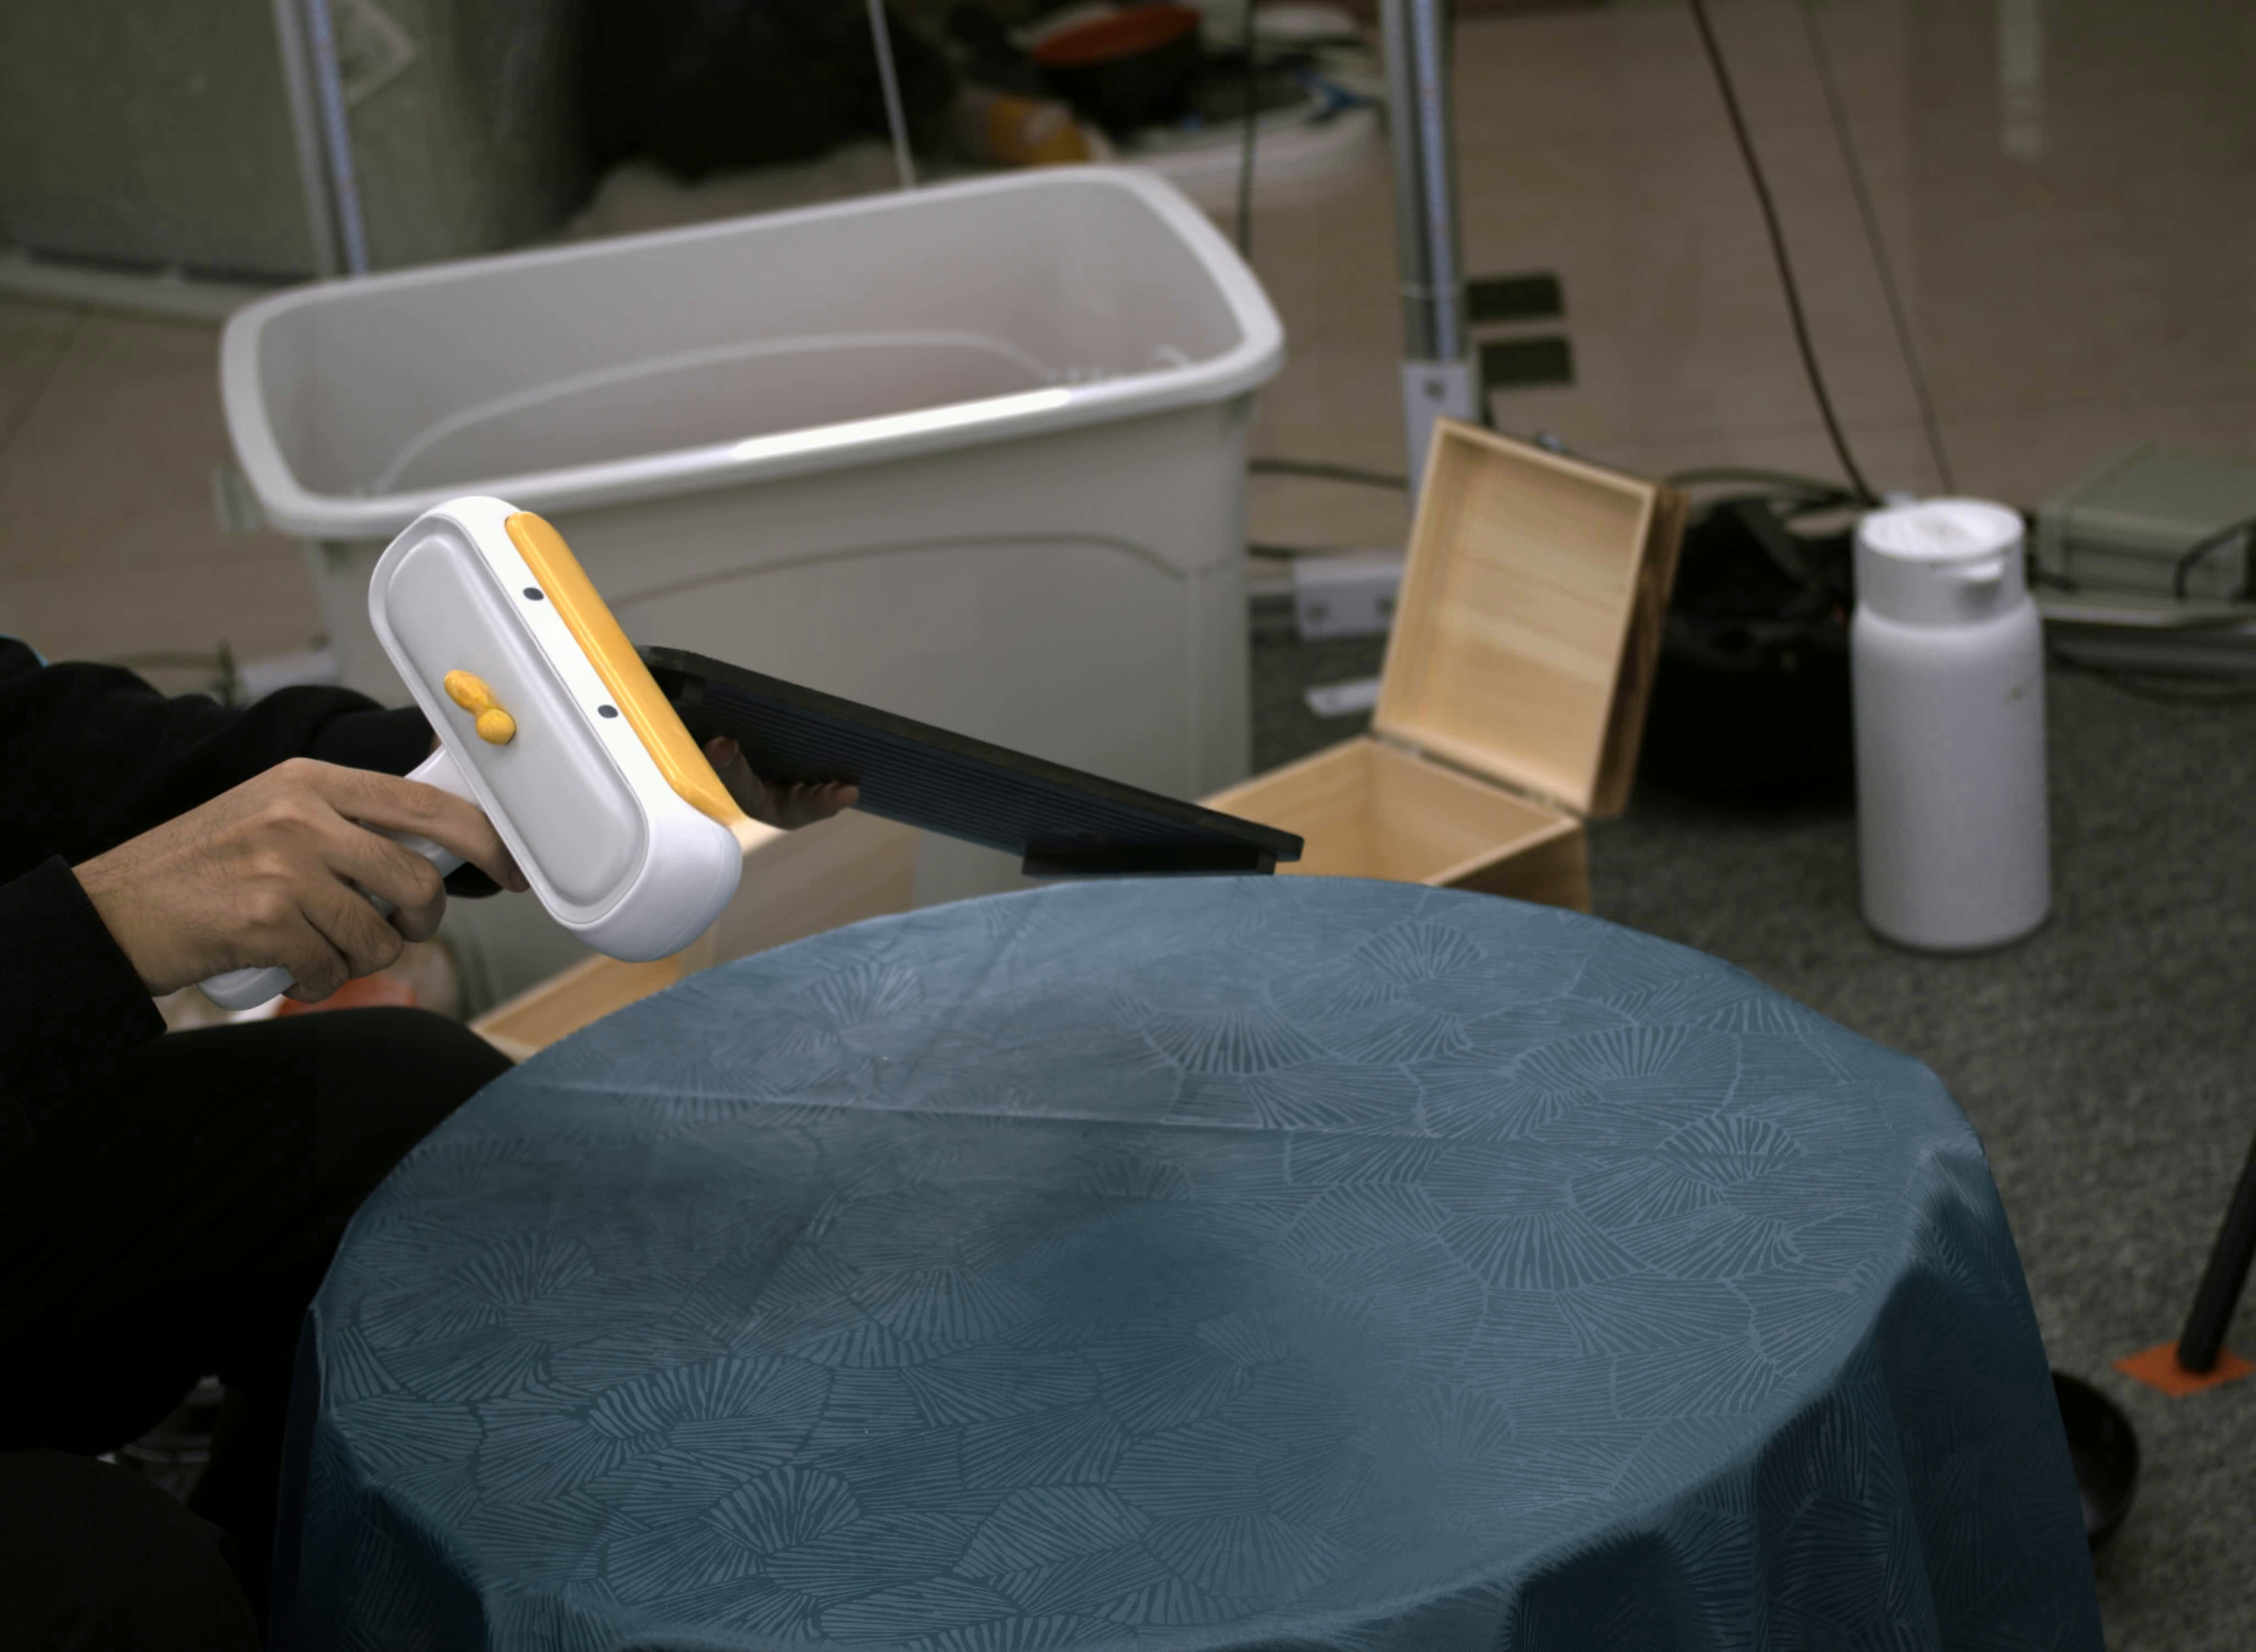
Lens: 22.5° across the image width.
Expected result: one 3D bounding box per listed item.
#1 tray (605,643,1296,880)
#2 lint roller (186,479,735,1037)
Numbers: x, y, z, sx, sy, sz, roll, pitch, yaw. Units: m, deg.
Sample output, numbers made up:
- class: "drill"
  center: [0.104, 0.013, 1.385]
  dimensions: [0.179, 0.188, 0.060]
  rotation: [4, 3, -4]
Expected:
- class: "tray"
  center: [-0.100, -0.020, 2.124]
  dimensions: [0.307, 0.018, 0.170]
  rotation: [16, -11, -36]
- class: "lint roller"
  center: [-0.249, -0.001, 1.981]
  dimensions: [0.191, 0.193, 0.074]
  rotation: [50, 15, 23]
